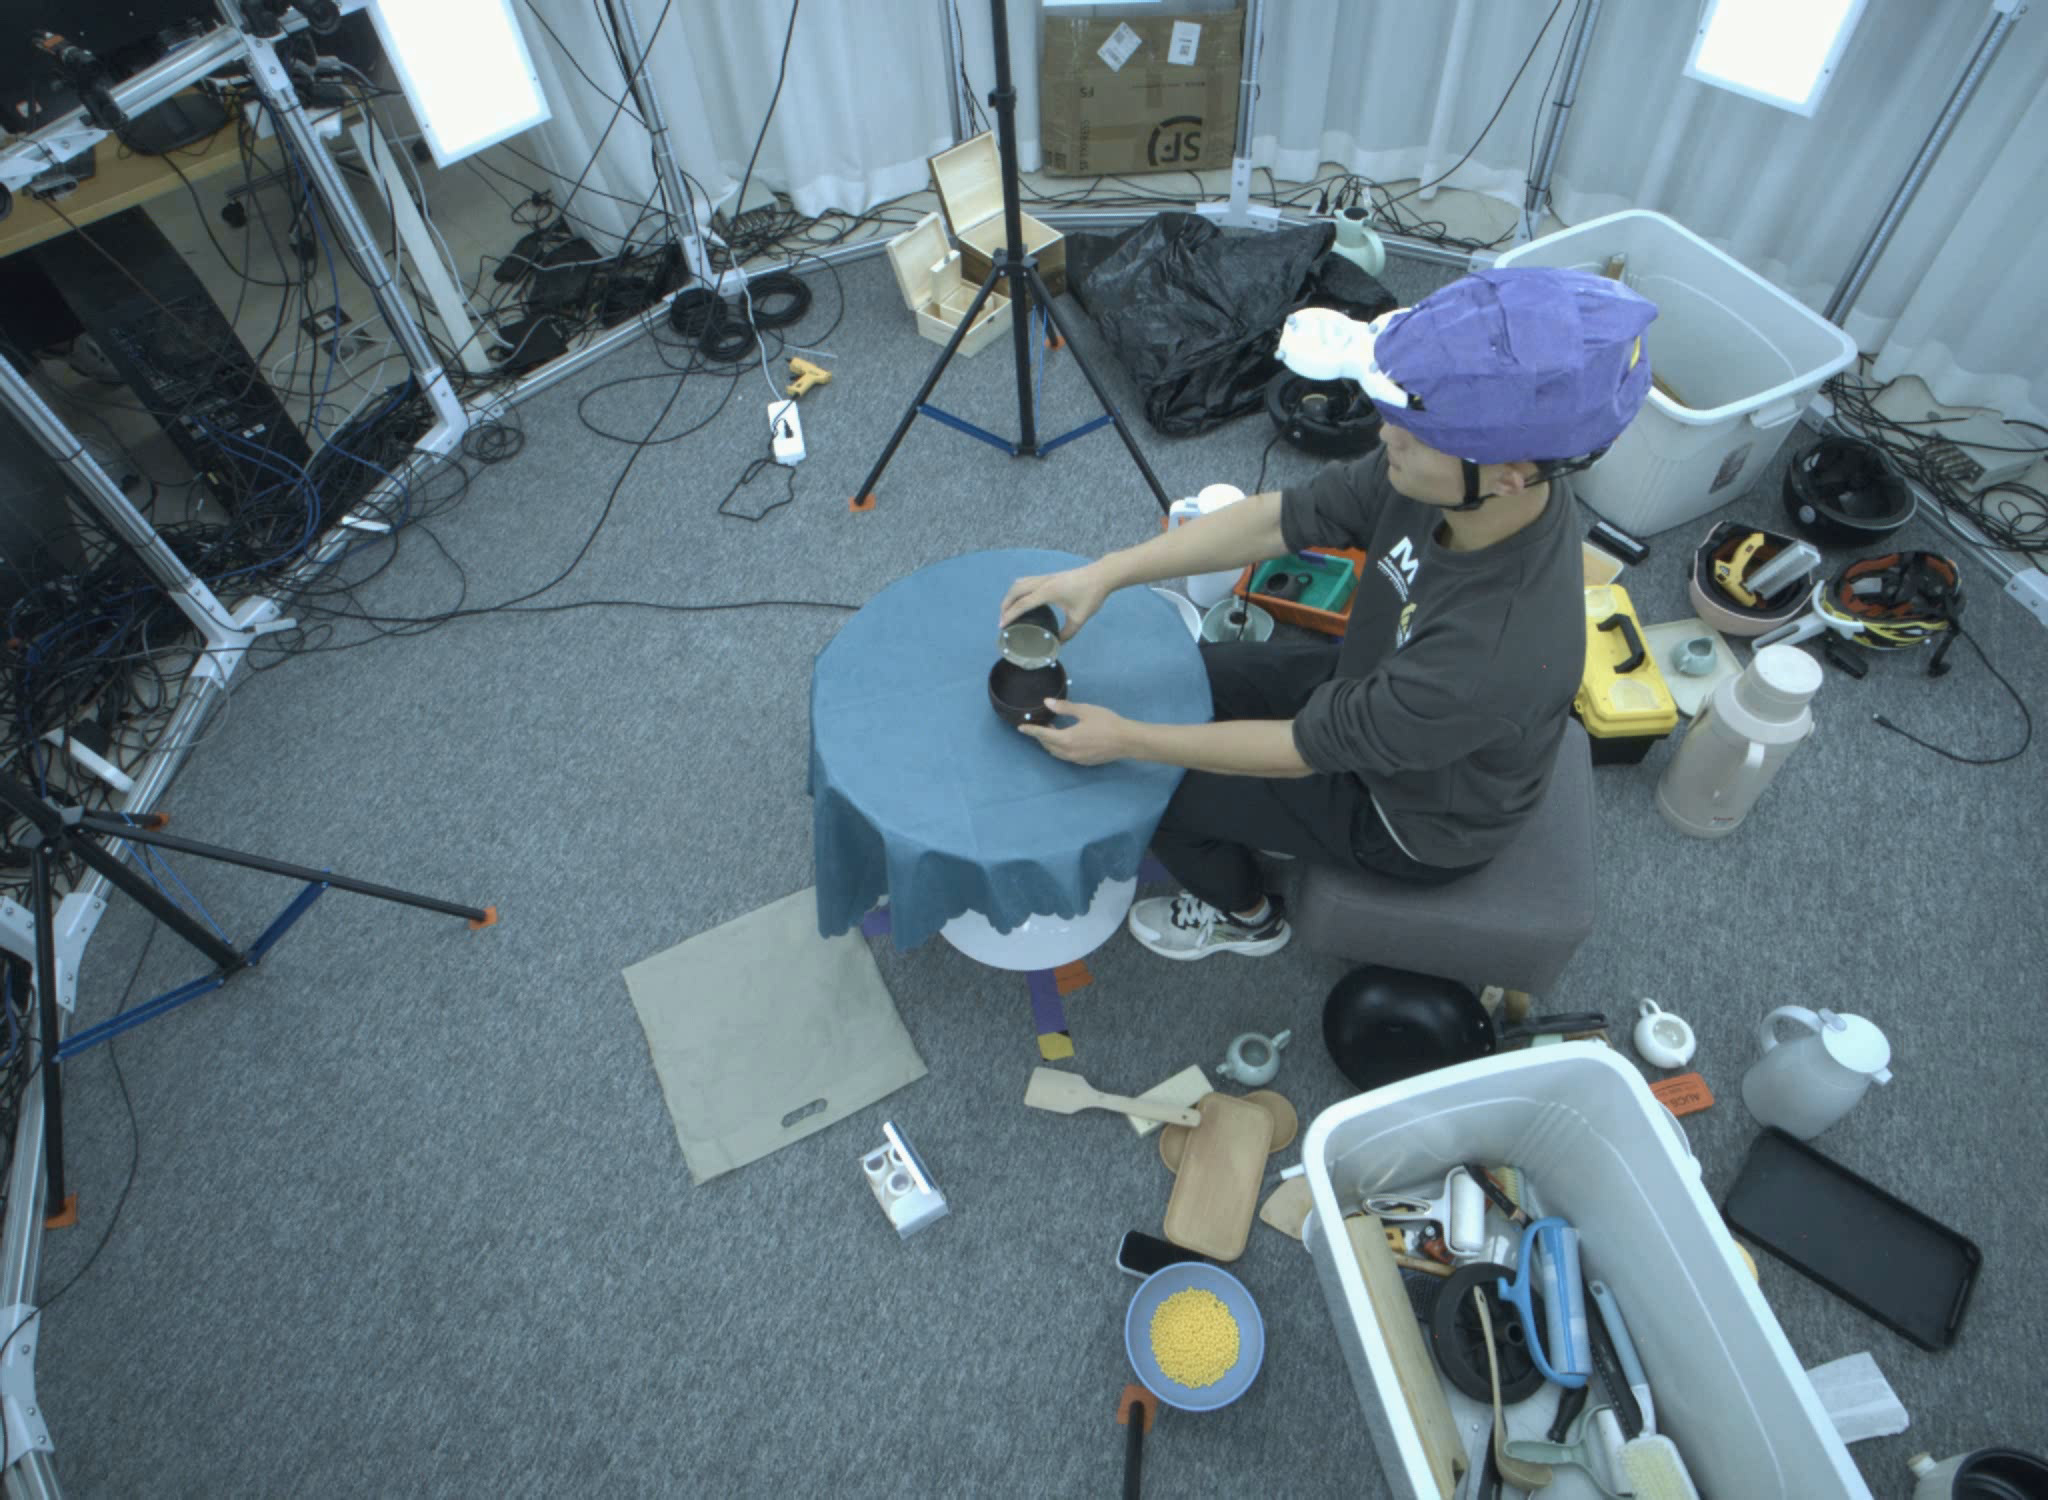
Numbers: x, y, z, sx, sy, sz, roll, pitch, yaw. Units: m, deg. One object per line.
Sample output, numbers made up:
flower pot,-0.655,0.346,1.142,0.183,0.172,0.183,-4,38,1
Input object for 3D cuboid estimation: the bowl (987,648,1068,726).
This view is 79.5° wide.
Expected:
bowl,0.007,-0.084,1.801,0.118,0.071,0.117,-2,53,4

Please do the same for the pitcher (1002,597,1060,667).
pitcher,0.011,-0.176,1.773,0.084,0.096,0.070,7,57,-5
